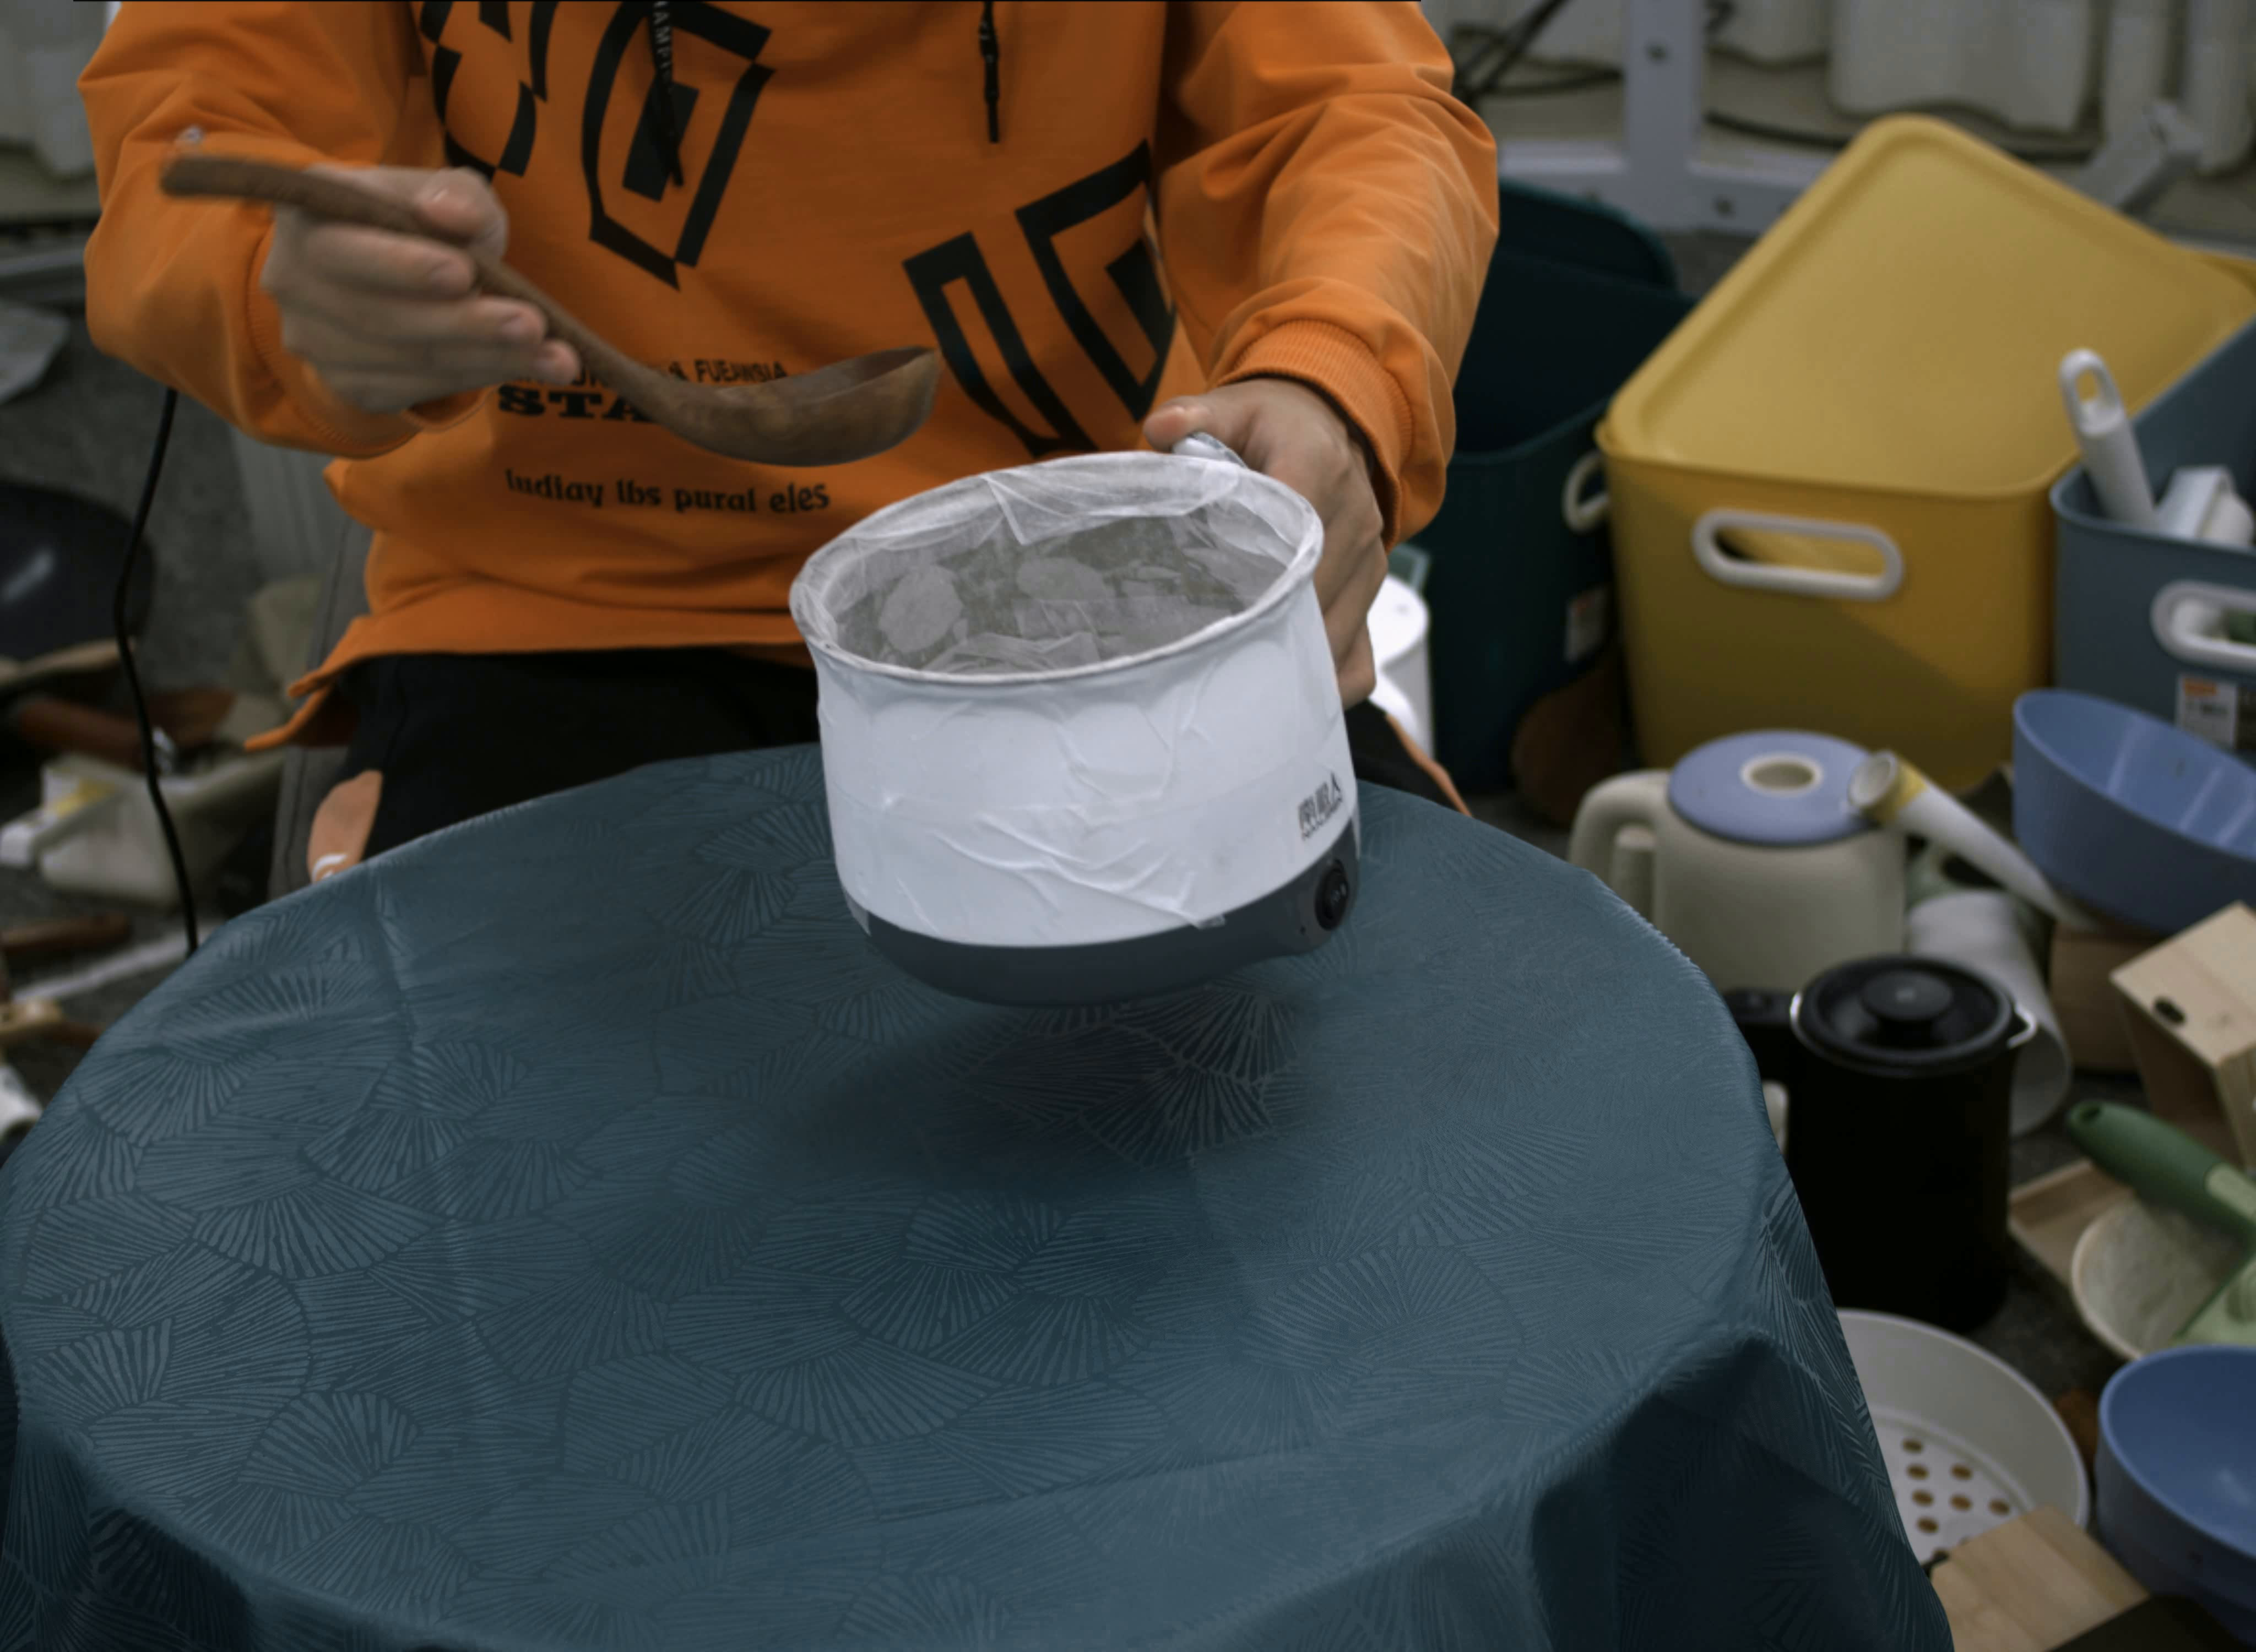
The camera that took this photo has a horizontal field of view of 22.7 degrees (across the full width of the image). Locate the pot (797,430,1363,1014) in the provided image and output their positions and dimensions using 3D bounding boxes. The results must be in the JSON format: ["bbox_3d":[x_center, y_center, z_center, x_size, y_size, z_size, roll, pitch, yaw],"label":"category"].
[{"bbox_3d":[-0.002,-0.042,1.894,0.177,0.135,0.238,6,29,26],"label":"pot"}]

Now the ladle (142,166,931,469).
[{"bbox_3d":[-0.189,-0.177,1.827,0.259,0.065,0.077,24,4,-6],"label":"ladle"}]
